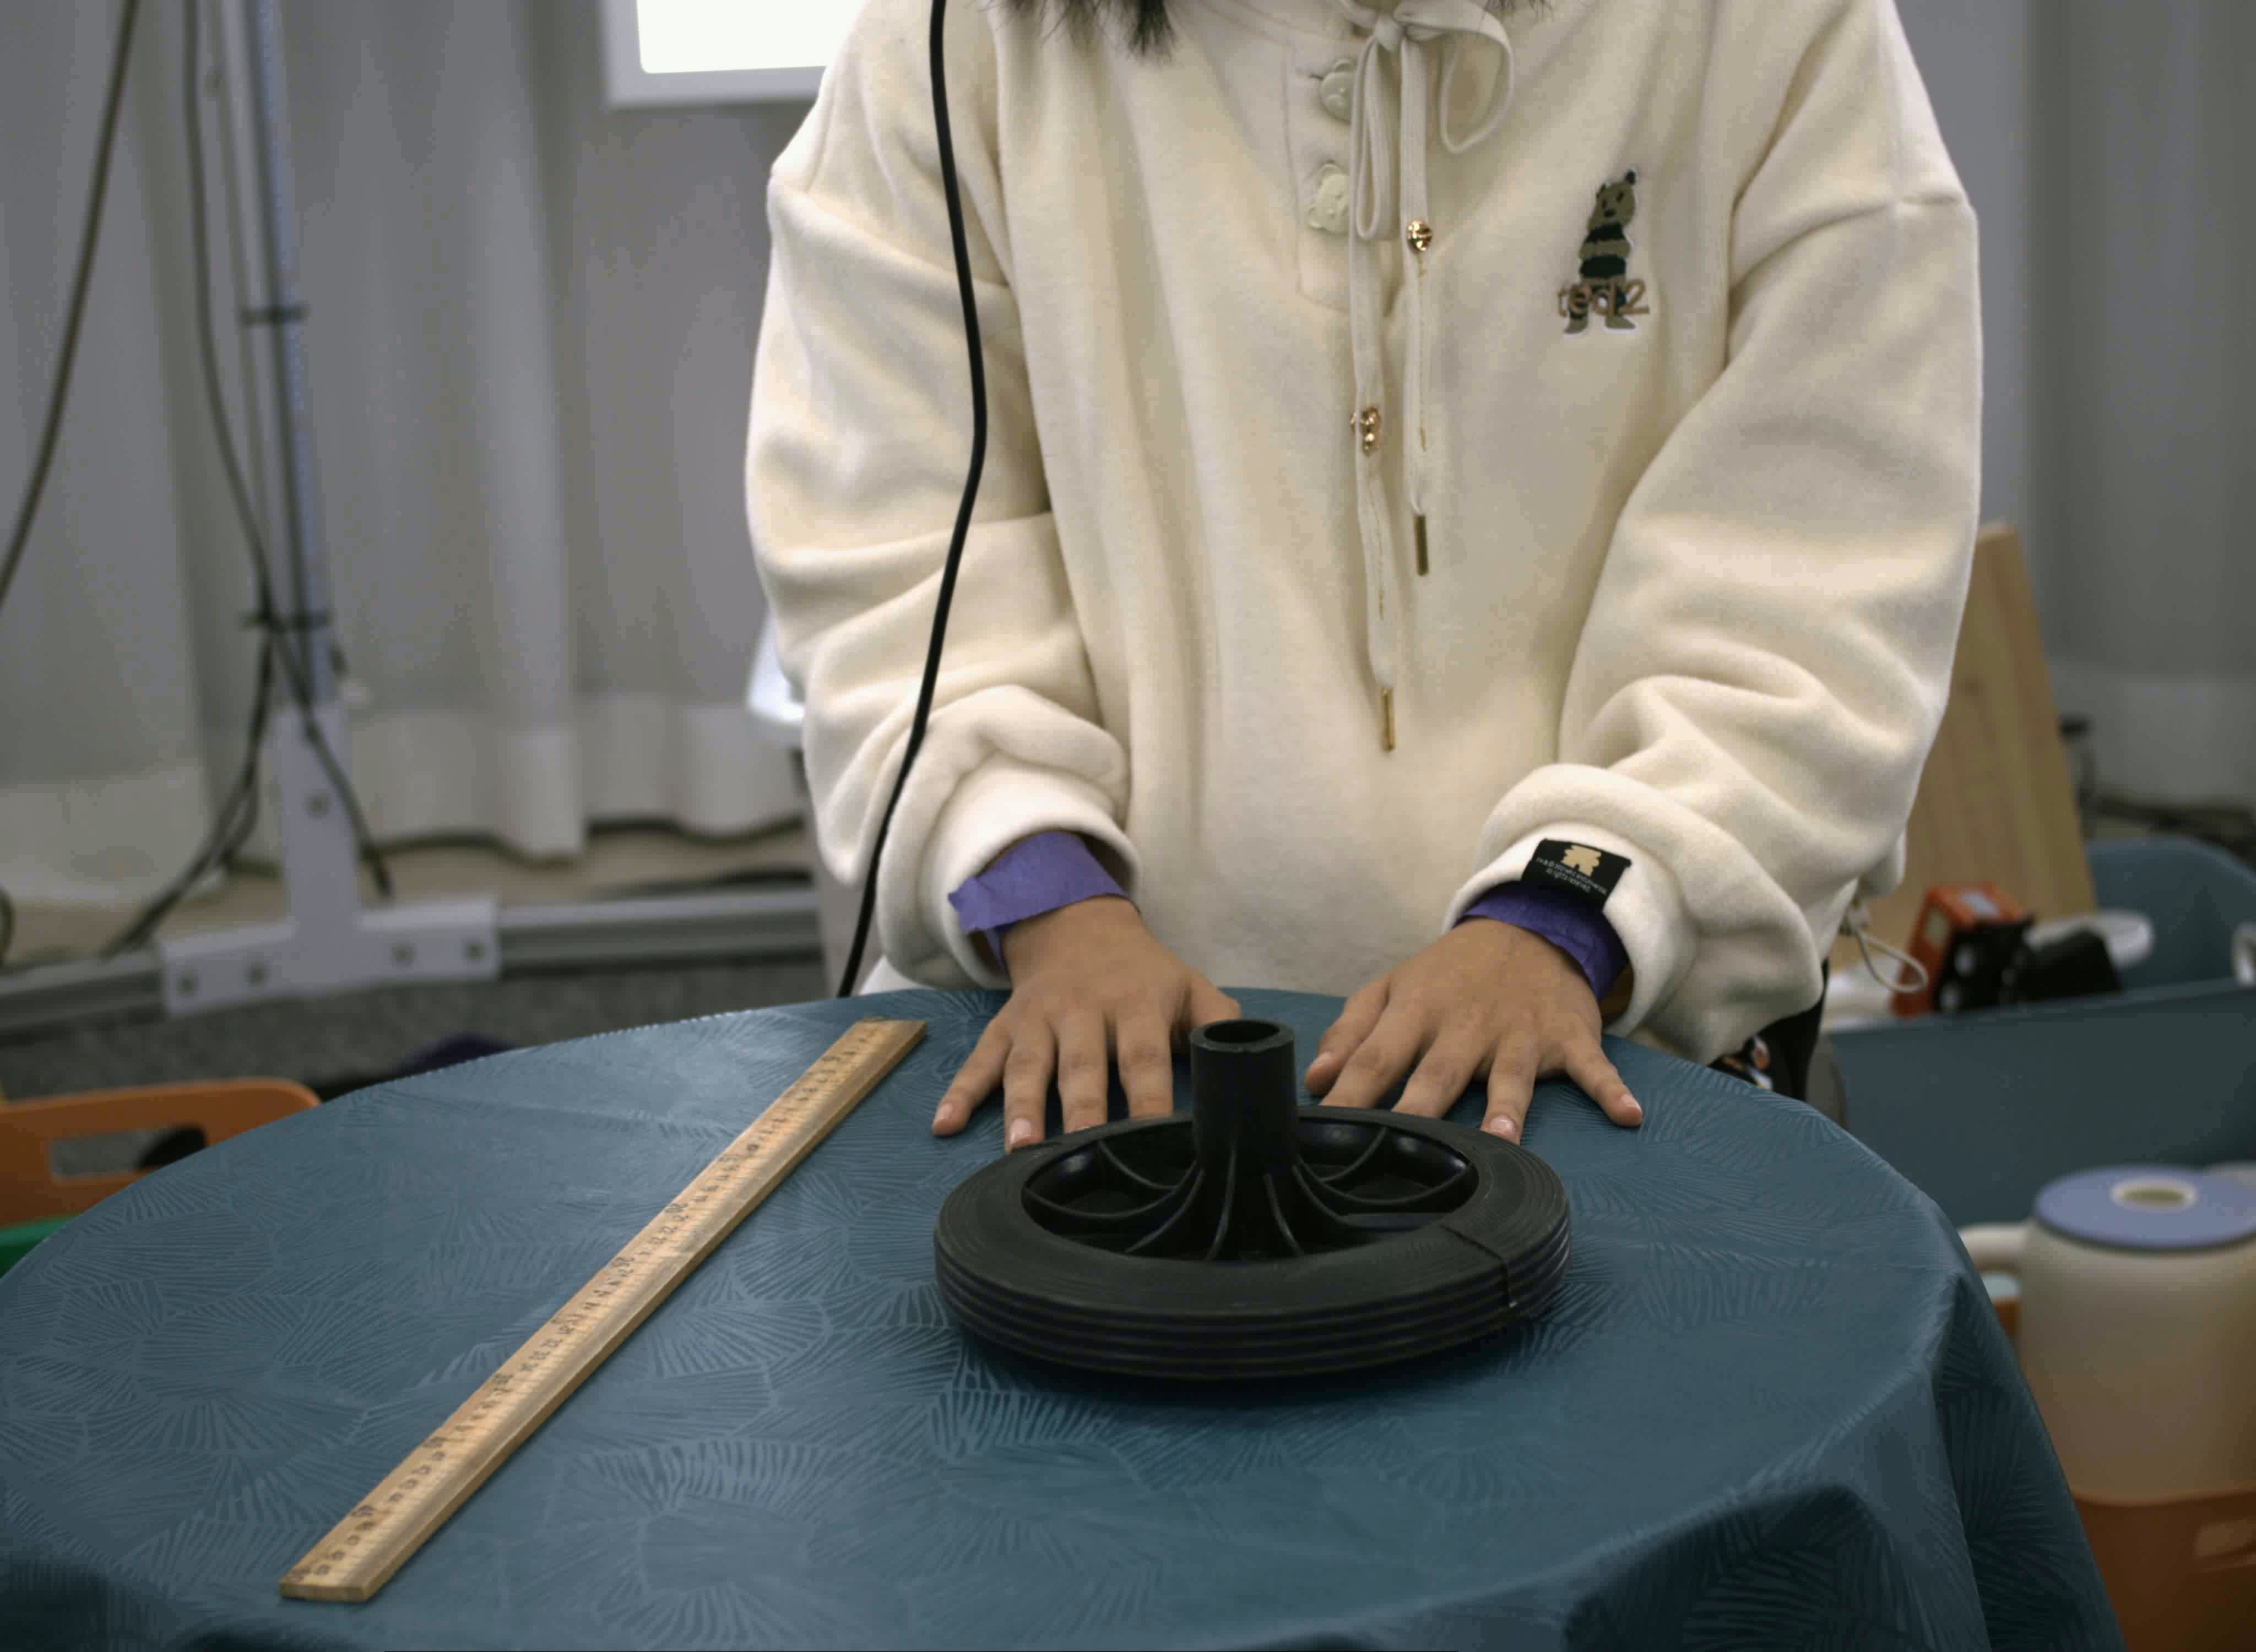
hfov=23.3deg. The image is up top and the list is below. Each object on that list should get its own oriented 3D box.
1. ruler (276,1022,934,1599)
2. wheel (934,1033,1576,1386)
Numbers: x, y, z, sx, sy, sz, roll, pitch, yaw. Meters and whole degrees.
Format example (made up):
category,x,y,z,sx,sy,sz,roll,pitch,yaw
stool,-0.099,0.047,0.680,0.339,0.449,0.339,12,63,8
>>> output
category,x,y,z,sx,sy,sz,roll,pitch,yaw
ruler,-0.146,0.135,1.658,0.027,0.006,0.502,1,15,16
wheel,0.036,0.103,1.604,0.189,0.079,0.189,-6,15,-12
